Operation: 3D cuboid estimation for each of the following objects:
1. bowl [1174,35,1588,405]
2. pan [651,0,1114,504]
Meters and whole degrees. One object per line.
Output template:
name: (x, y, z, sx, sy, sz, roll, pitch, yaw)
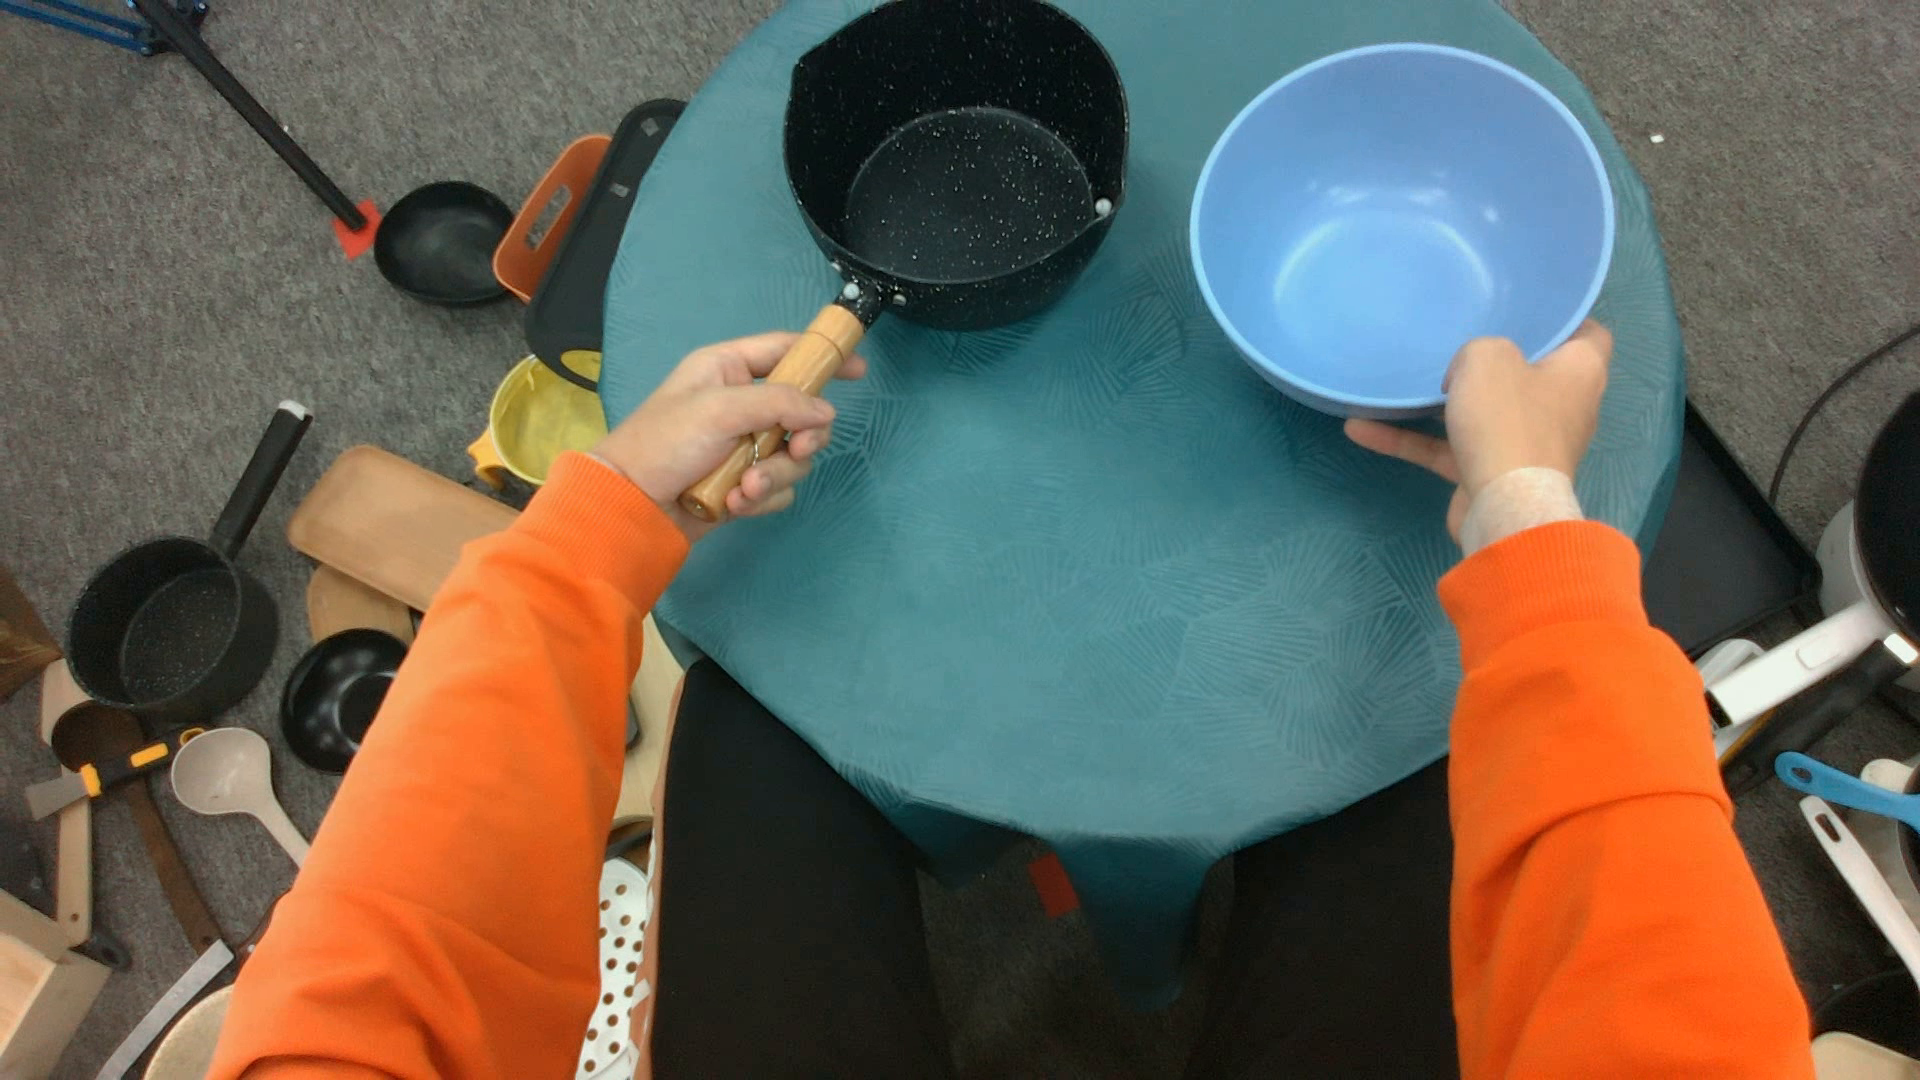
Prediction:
bowl: (0.211, -0.150, 0.717, 0.196, 0.095, 0.197, -3, 72, 8)
pan: (-0.048, -0.147, 0.734, 0.207, 0.108, 0.344, 27, 74, 11)
